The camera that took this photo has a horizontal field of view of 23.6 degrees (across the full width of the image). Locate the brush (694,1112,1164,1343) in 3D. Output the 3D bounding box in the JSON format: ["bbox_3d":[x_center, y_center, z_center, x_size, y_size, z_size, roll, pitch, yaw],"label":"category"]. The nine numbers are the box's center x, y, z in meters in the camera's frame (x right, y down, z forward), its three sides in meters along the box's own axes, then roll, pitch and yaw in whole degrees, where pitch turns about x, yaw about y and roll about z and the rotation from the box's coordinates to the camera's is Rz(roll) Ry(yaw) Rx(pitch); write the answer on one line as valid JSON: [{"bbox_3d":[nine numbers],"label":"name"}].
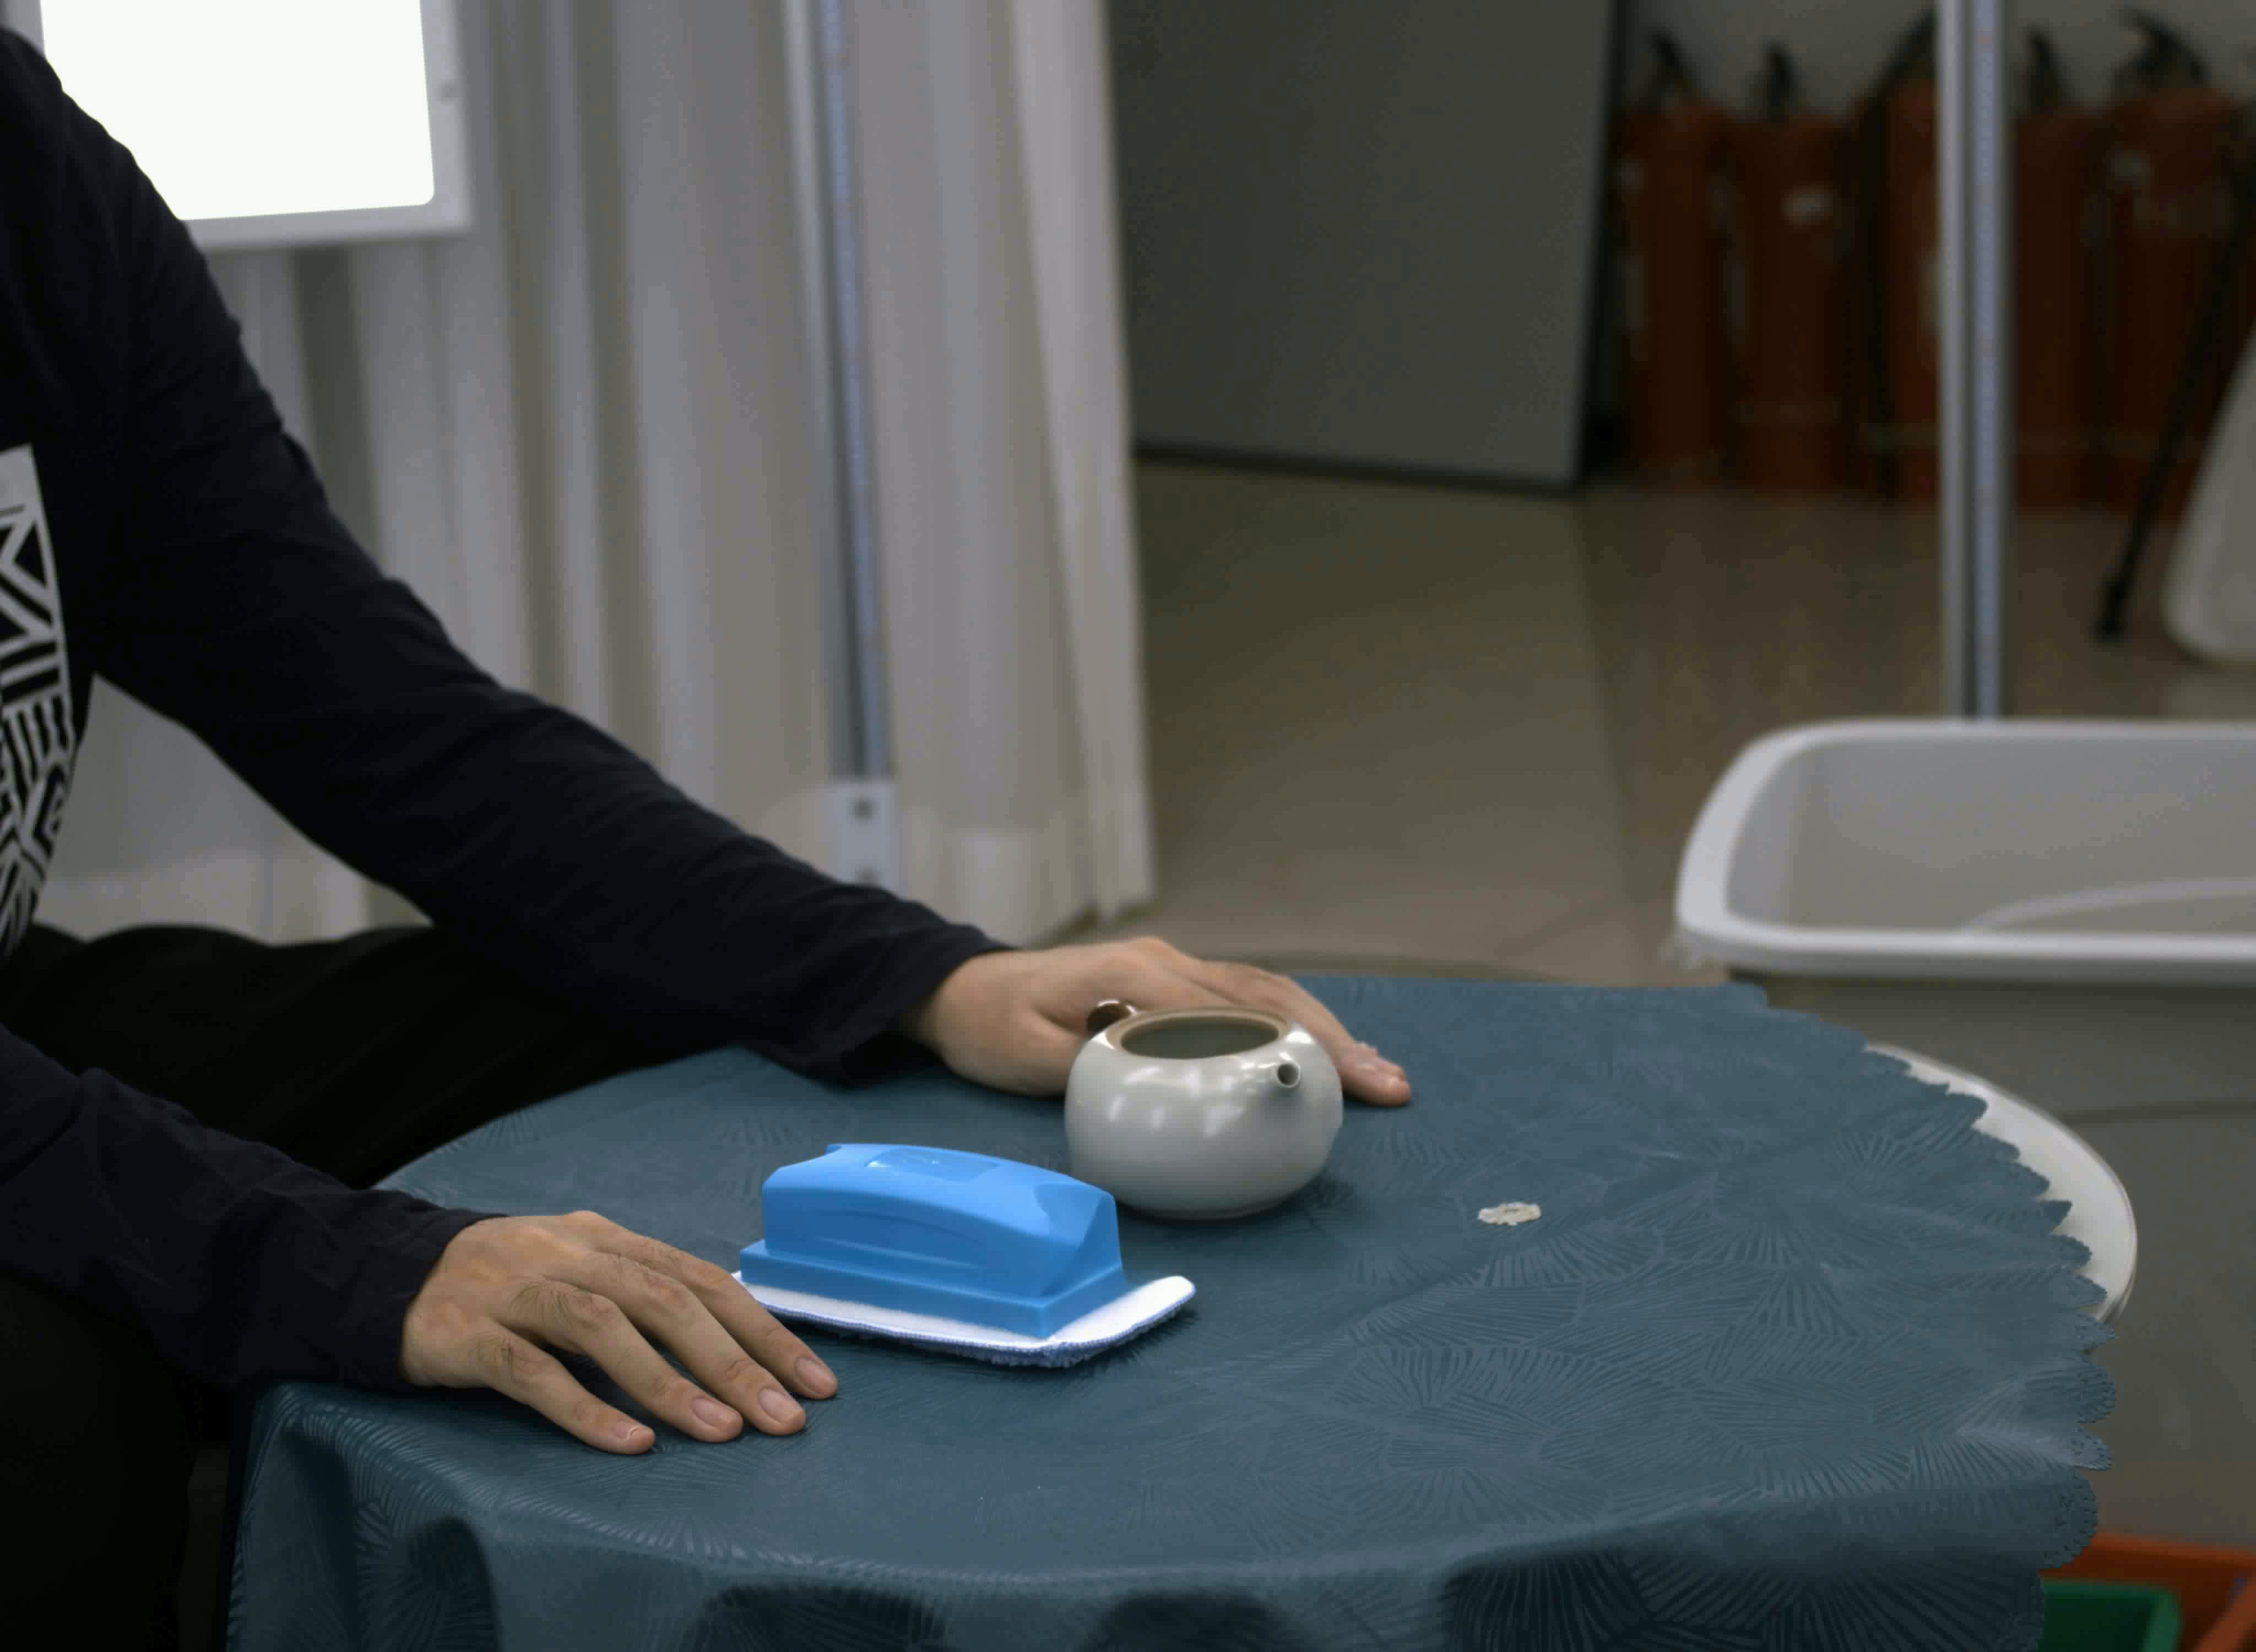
[{"bbox_3d":[-0.061,0.122,1.661,0.145,0.056,0.082,10,16,38],"label":"brush"}]

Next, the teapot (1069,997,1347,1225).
[{"bbox_3d":[0.021,0.092,1.765,0.090,0.060,0.129,-16,19,-31],"label":"teapot"}]
